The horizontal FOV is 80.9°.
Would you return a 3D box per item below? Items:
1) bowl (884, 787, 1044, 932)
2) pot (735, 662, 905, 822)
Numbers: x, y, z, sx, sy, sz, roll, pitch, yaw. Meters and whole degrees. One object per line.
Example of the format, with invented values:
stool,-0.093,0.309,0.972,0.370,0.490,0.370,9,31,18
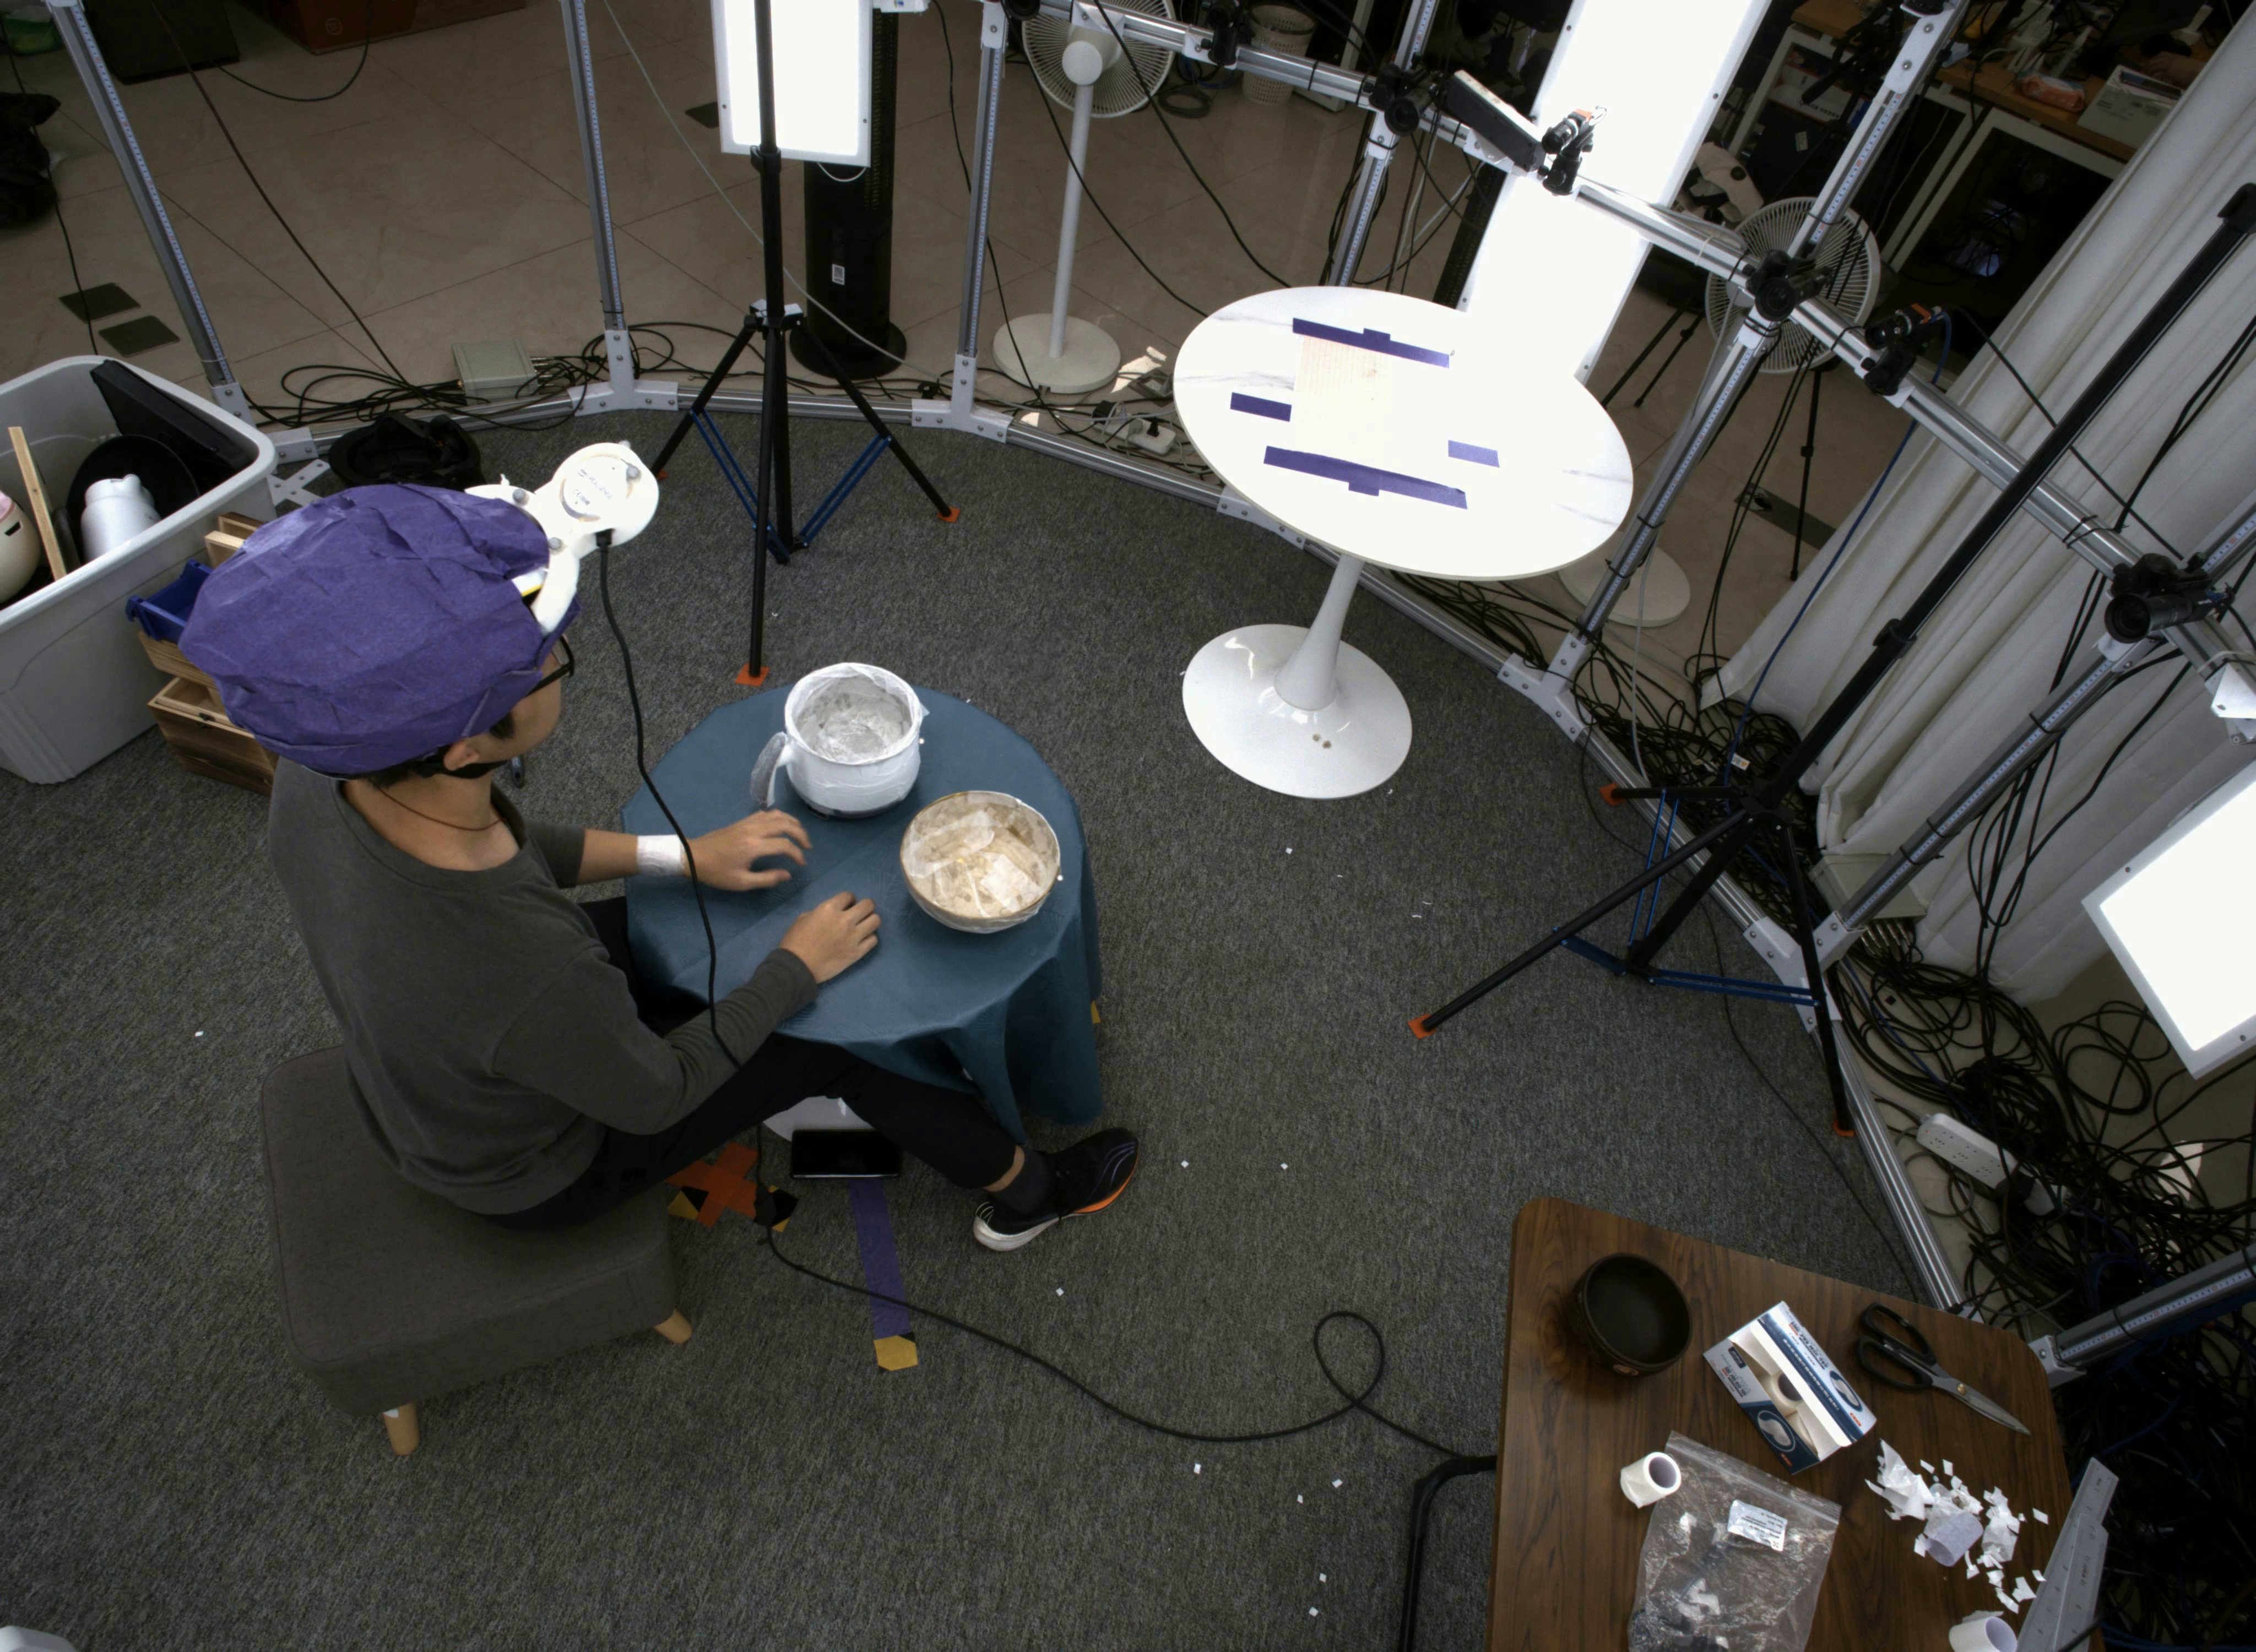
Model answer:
bowl,-0.216,0.058,1.685,0.214,0.096,0.211,8,55,-9
pot,-0.411,-0.099,1.723,0.235,0.139,0.174,-26,63,-28
